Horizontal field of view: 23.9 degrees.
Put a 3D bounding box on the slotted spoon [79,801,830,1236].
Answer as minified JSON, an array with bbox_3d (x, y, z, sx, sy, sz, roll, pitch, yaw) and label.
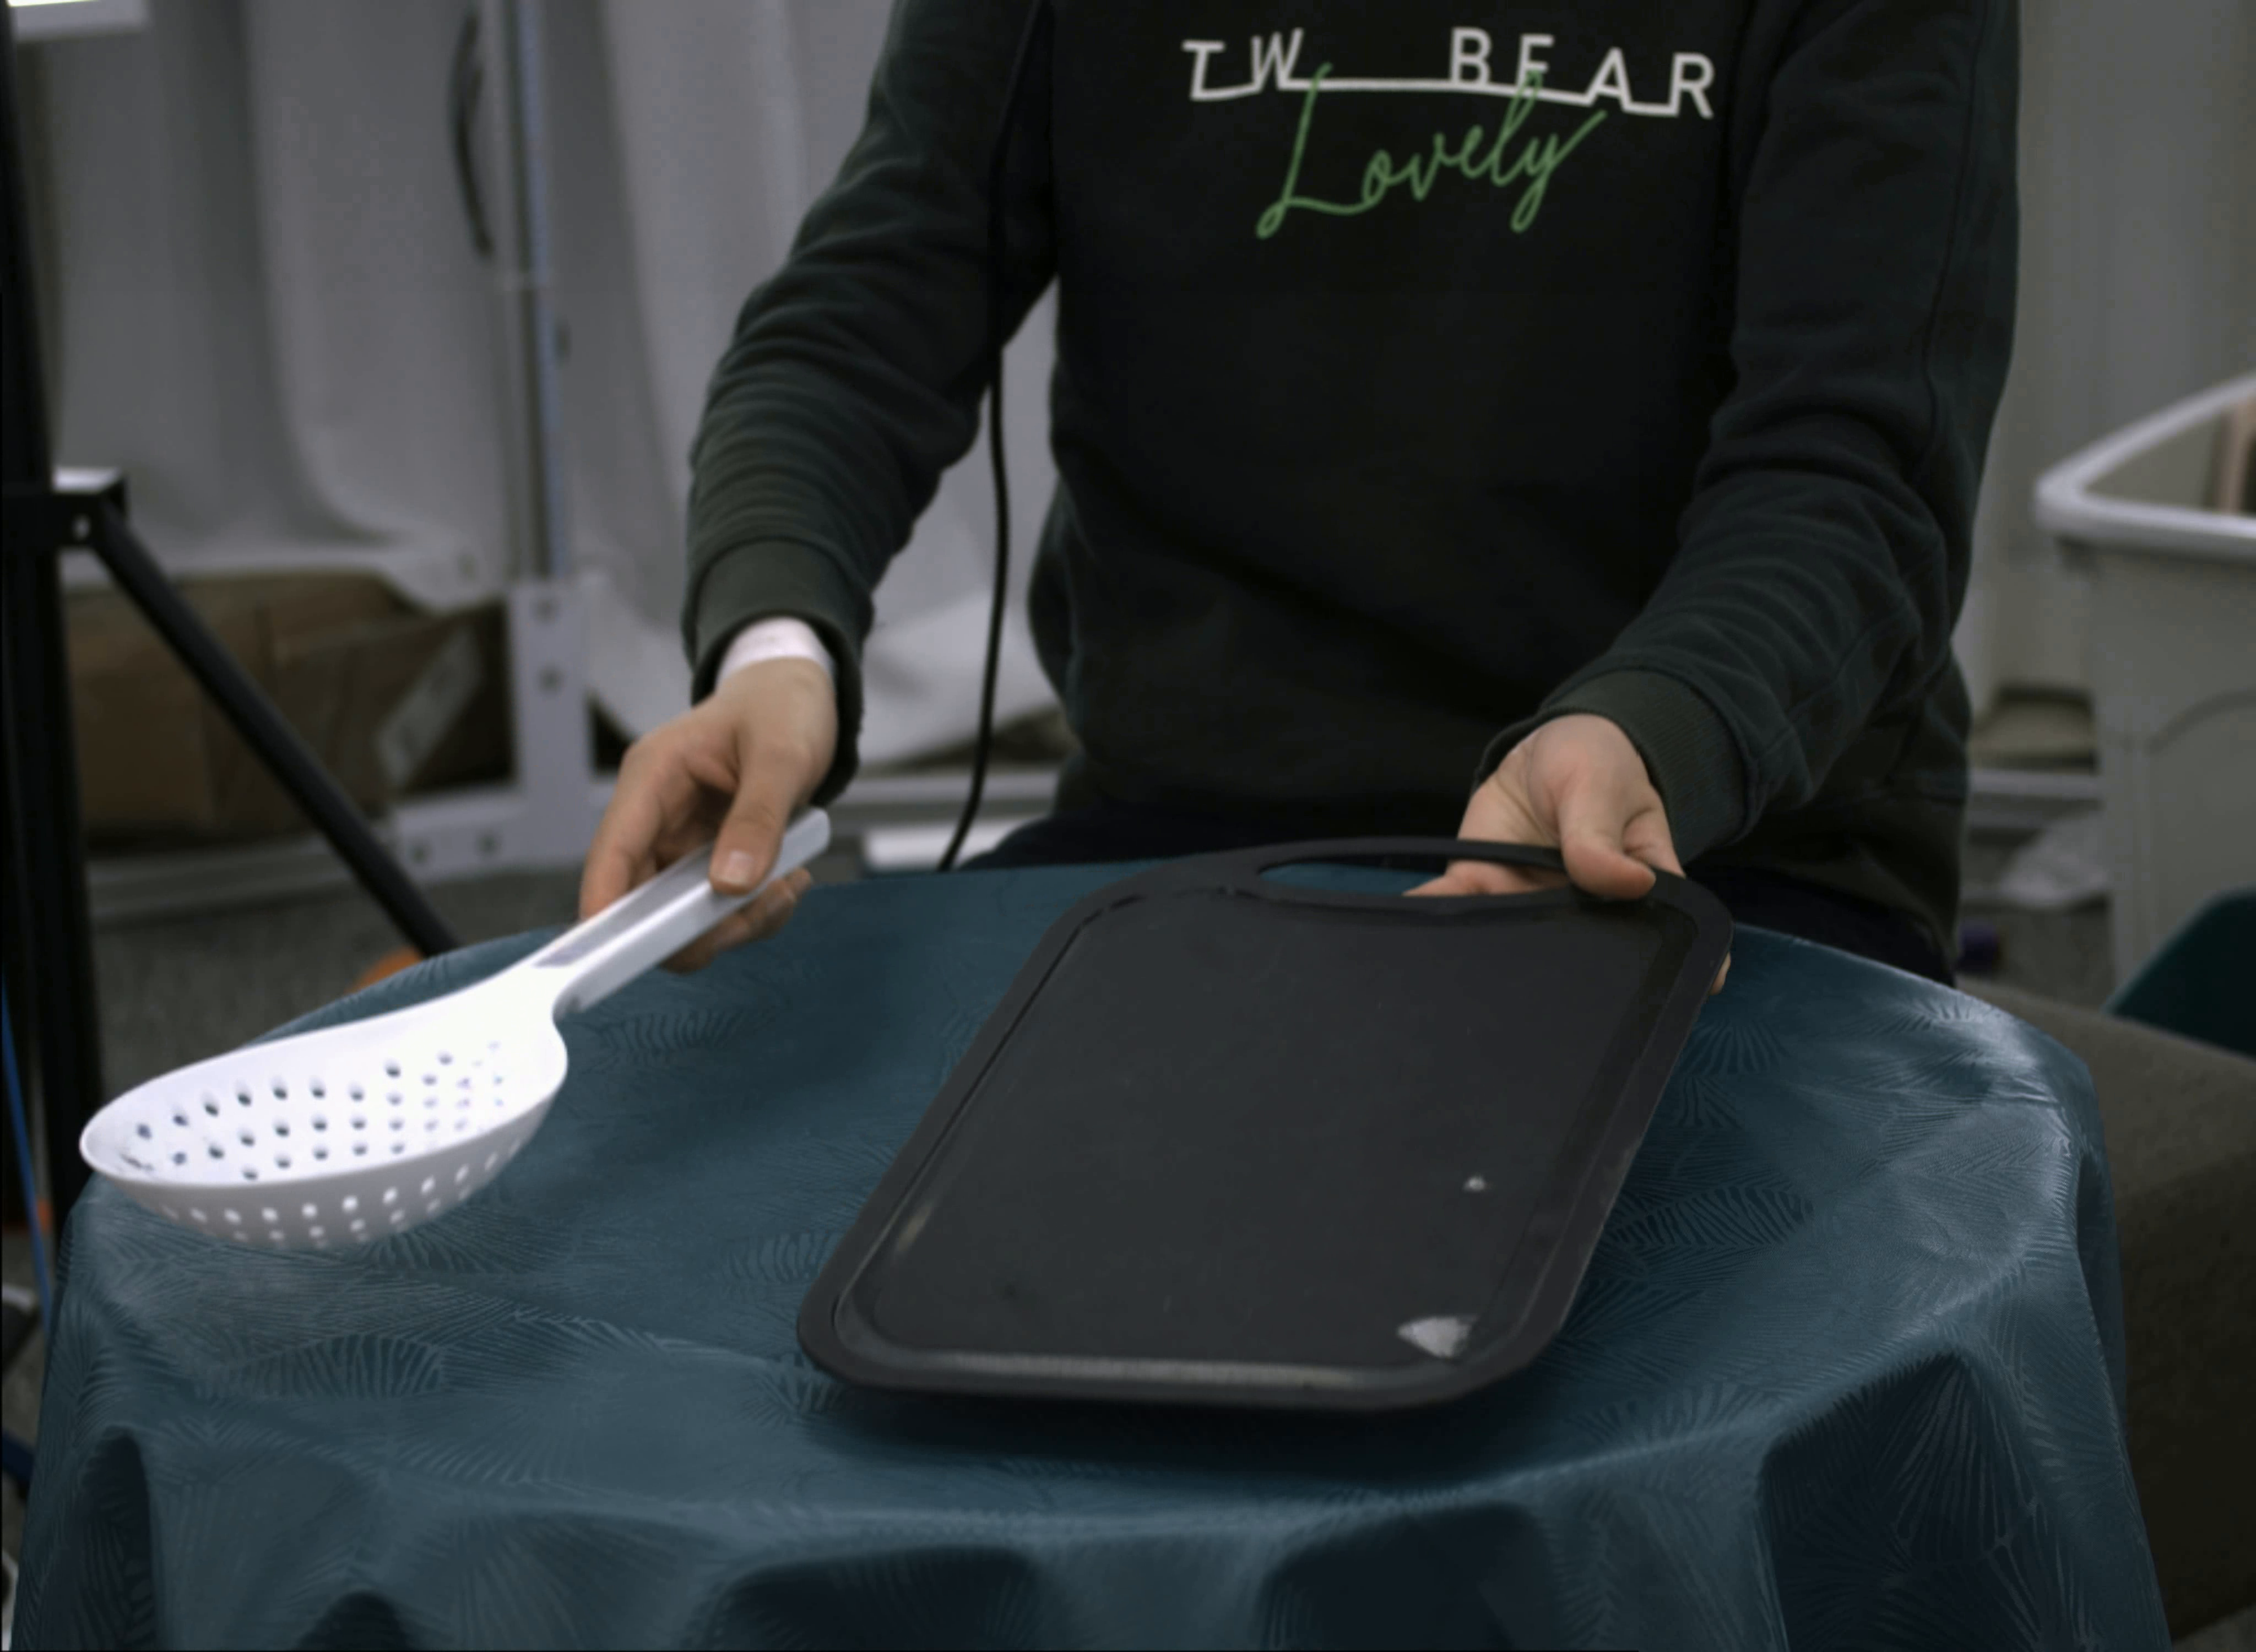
[{"bbox_3d":[-0.179,0.049,1.583,0.138,0.045,0.345,0,22,26],"label":"slotted spoon"}]

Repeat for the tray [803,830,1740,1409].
[{"bbox_3d":[0.048,0.072,1.483,0.213,0.010,0.323,0,26,20],"label":"tray"}]
